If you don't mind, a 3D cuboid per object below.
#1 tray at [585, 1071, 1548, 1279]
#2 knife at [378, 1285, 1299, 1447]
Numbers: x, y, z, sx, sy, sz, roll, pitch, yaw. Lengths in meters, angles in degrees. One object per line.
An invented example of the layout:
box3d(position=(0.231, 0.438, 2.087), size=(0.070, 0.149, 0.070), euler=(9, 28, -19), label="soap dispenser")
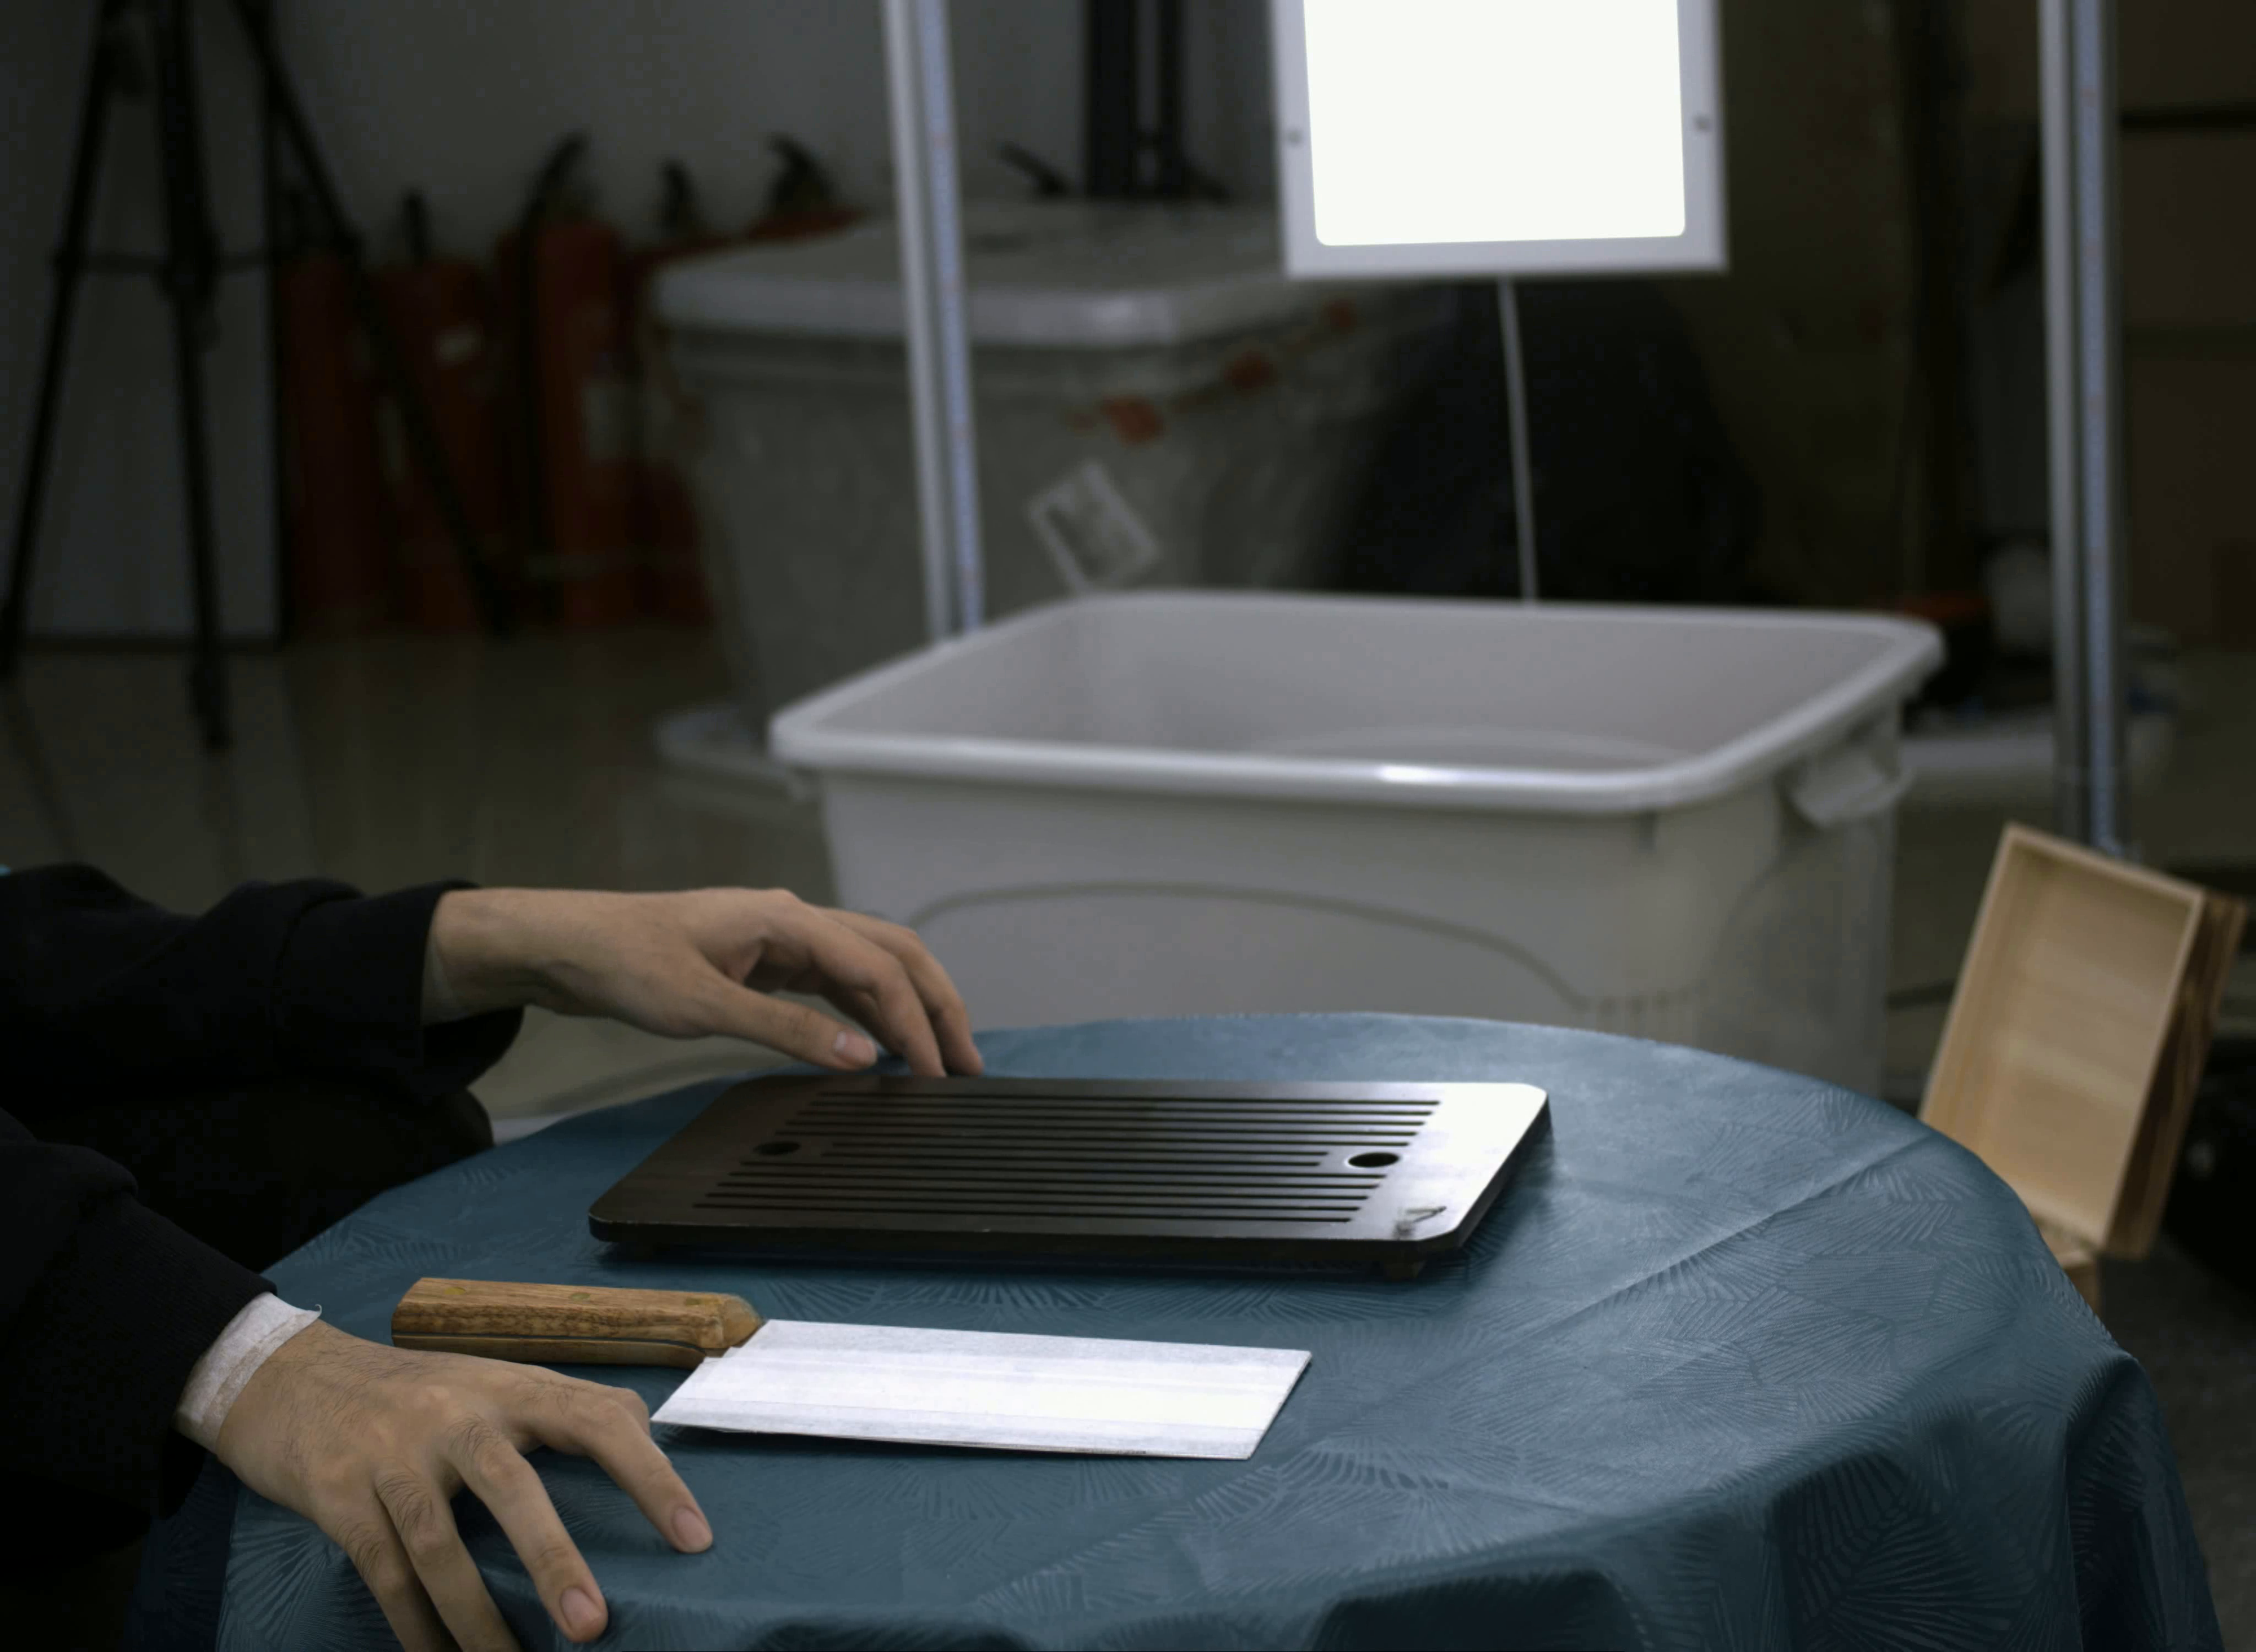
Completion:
box3d(position=(-0.019, 0.119, 1.897), size=(0.310, 0.019, 0.167), euler=(0, 15, 19), label="tray")
box3d(position=(-0.099, 0.171, 1.720), size=(0.309, 0.021, 0.091), euler=(2, 17, 17), label="knife")
